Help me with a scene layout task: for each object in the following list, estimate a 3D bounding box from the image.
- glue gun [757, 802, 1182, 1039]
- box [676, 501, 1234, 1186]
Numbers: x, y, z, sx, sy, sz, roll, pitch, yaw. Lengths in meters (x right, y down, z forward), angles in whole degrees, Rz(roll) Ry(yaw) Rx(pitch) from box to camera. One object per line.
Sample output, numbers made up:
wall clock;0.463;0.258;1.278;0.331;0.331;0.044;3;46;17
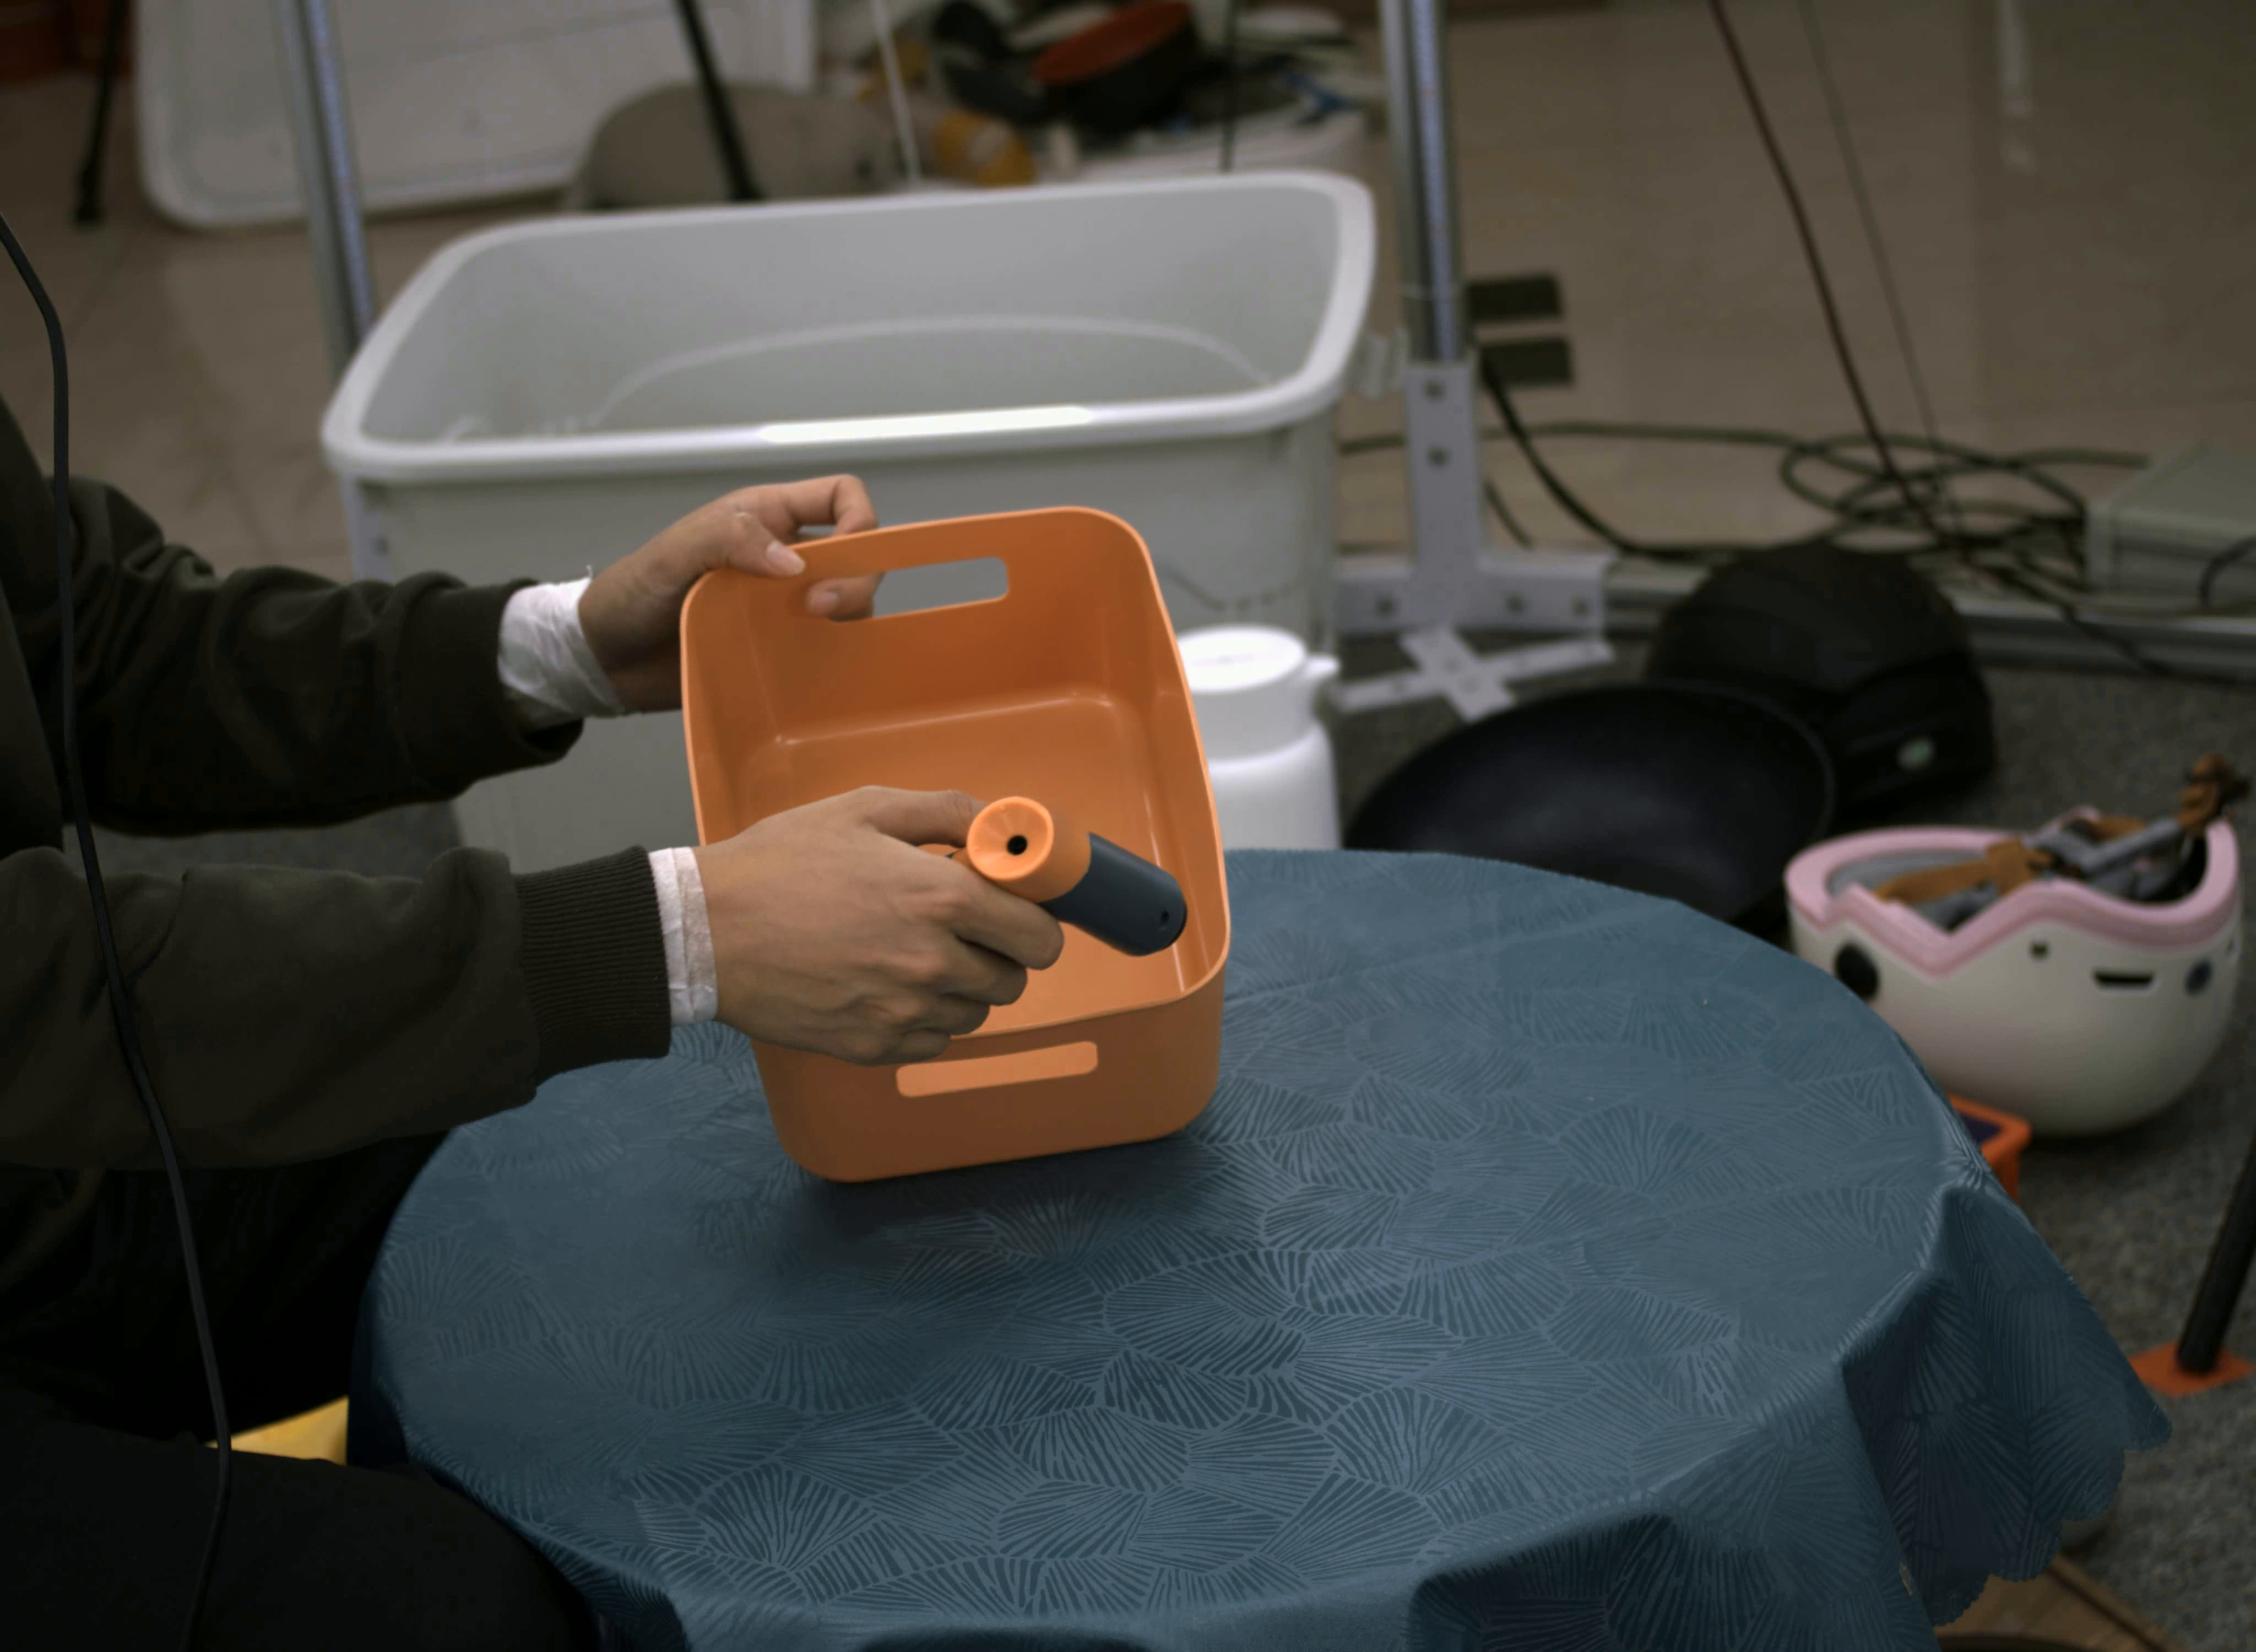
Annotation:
glue gun;-0.056;0.035;2.061;0.140;0.119;0.040;-16;65;9
box;-0.068;0.011;2.222;0.199;0.104;0.268;-10;50;-3
